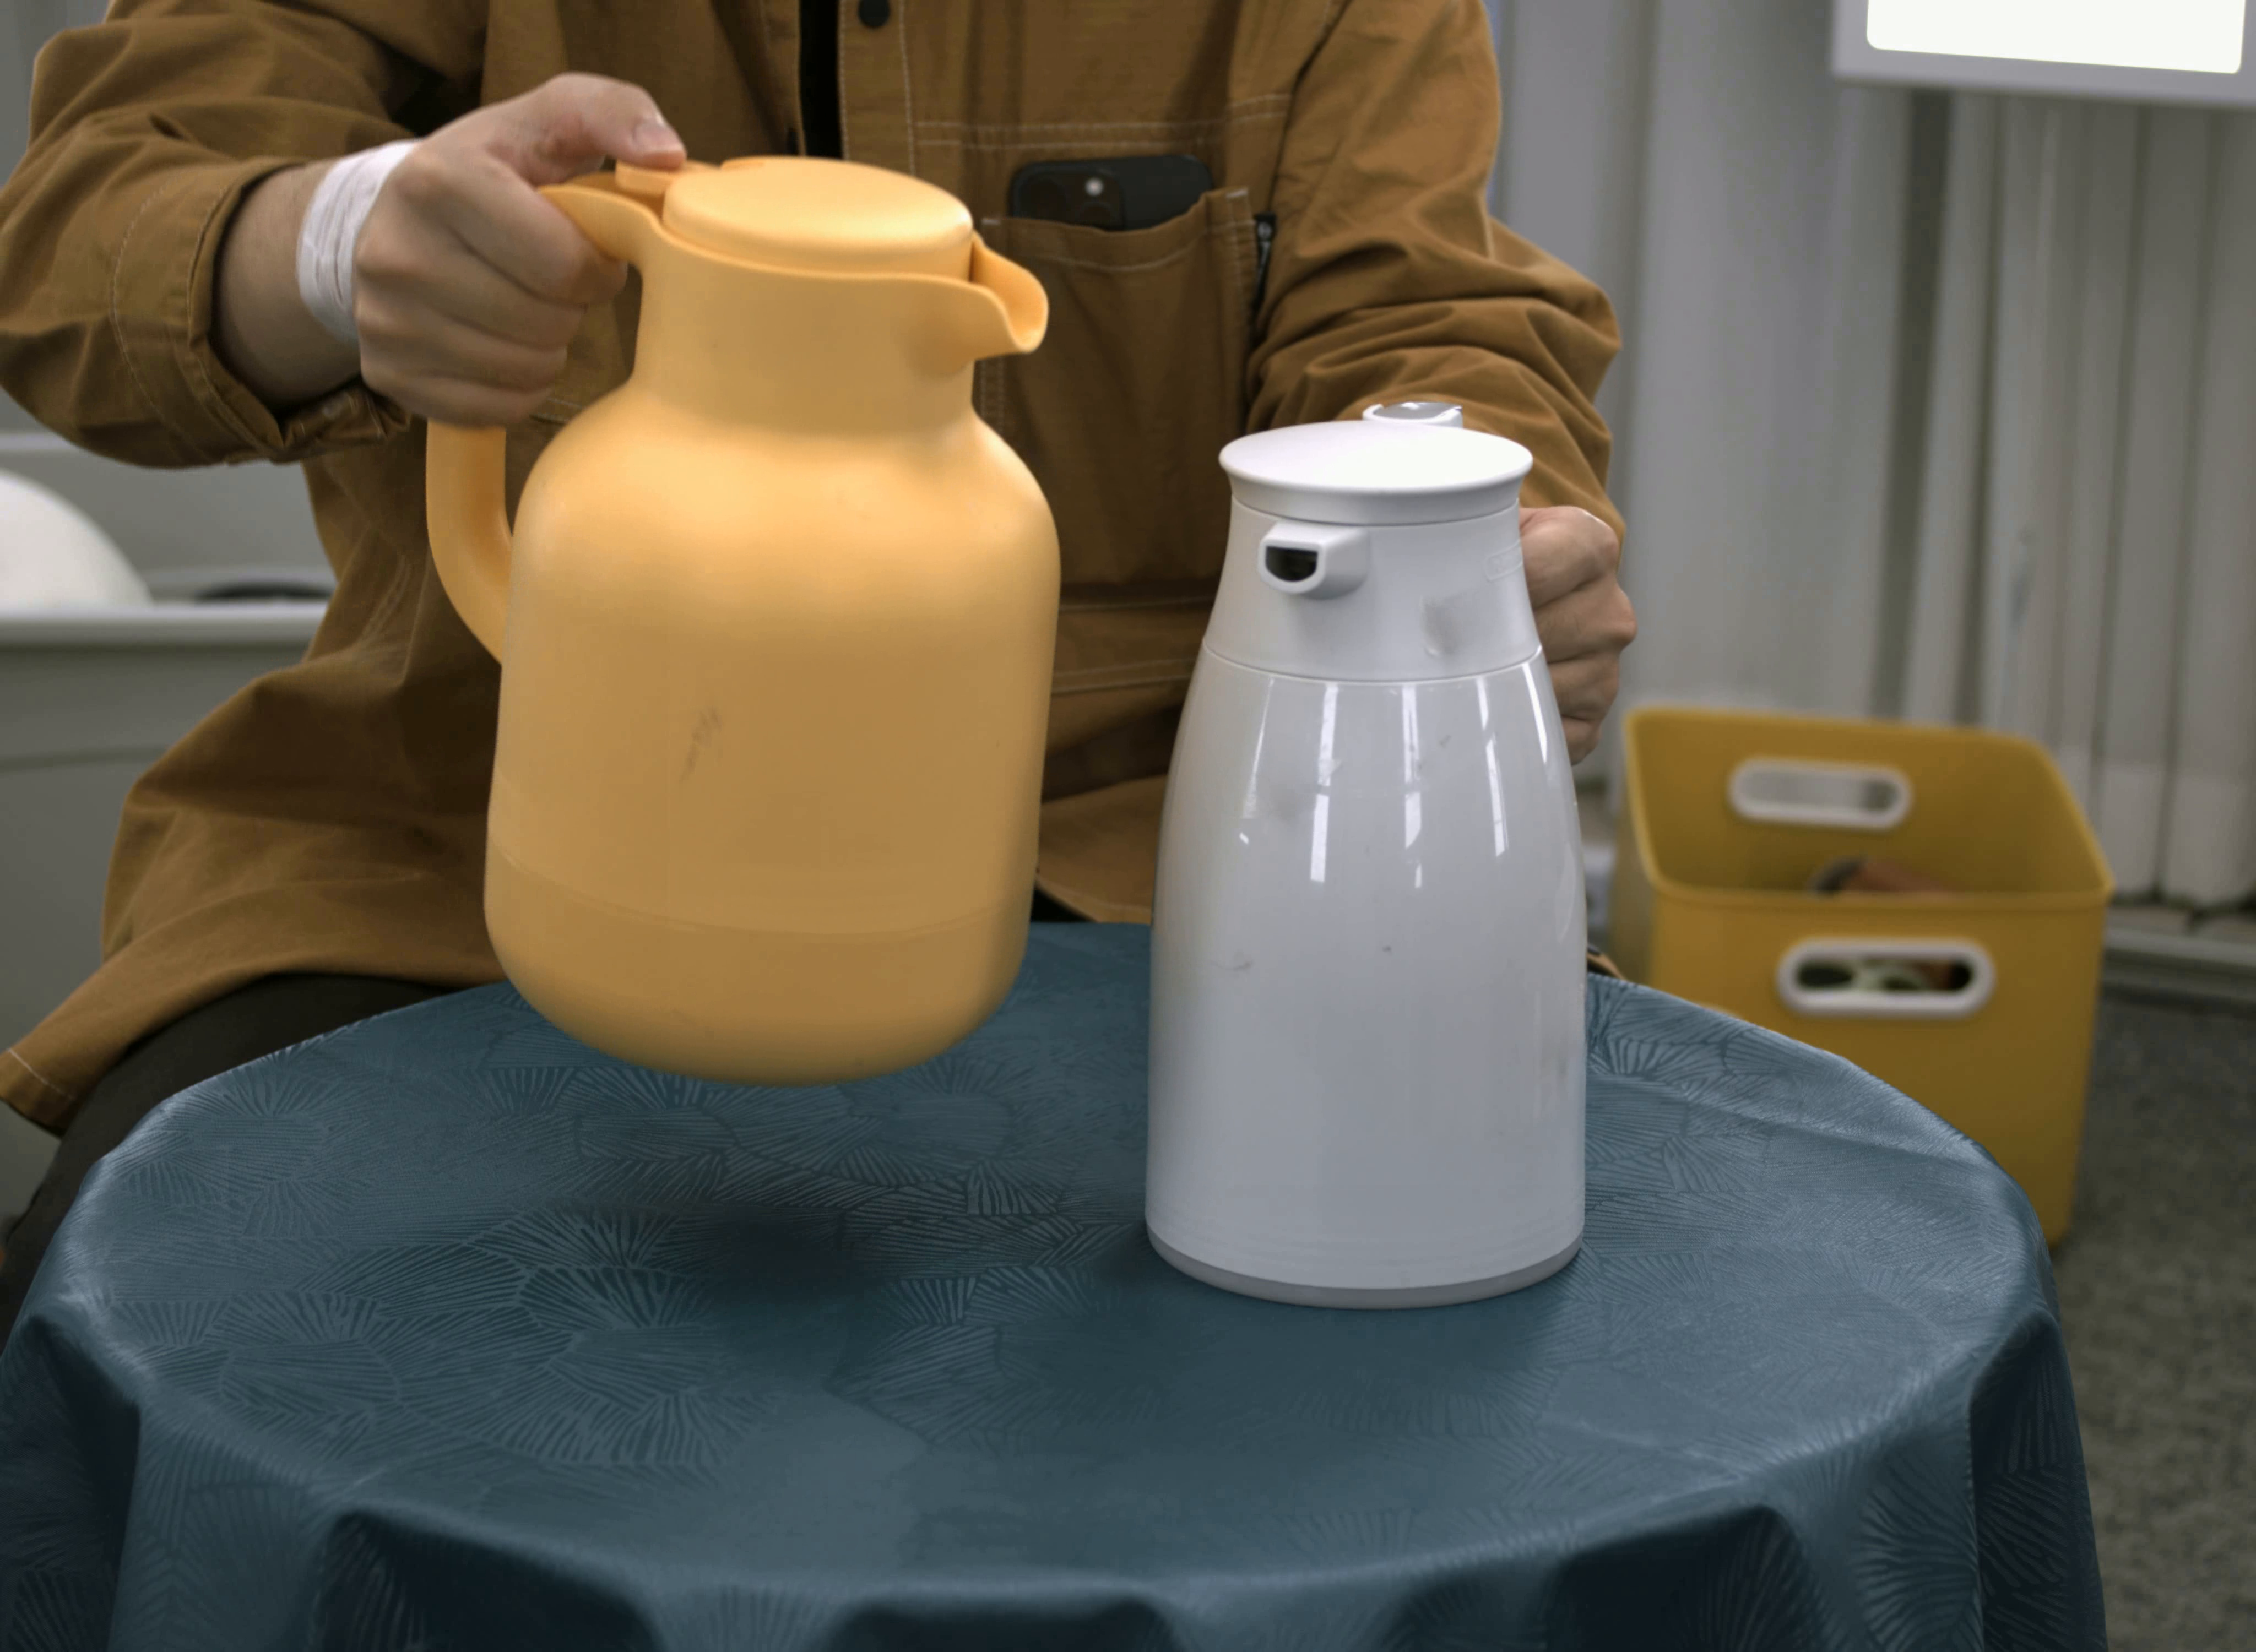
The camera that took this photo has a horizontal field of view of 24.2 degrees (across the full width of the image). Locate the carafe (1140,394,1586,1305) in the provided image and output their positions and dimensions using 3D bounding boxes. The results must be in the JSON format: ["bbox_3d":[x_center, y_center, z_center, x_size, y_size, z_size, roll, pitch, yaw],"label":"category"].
[{"bbox_3d":[0.078,-0.002,1.569,0.131,0.250,0.168,7,17,22],"label":"carafe"}]

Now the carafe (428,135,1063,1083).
[{"bbox_3d":[-0.116,-0.071,1.539,0.200,0.262,0.164,18,21,25],"label":"carafe"}]
